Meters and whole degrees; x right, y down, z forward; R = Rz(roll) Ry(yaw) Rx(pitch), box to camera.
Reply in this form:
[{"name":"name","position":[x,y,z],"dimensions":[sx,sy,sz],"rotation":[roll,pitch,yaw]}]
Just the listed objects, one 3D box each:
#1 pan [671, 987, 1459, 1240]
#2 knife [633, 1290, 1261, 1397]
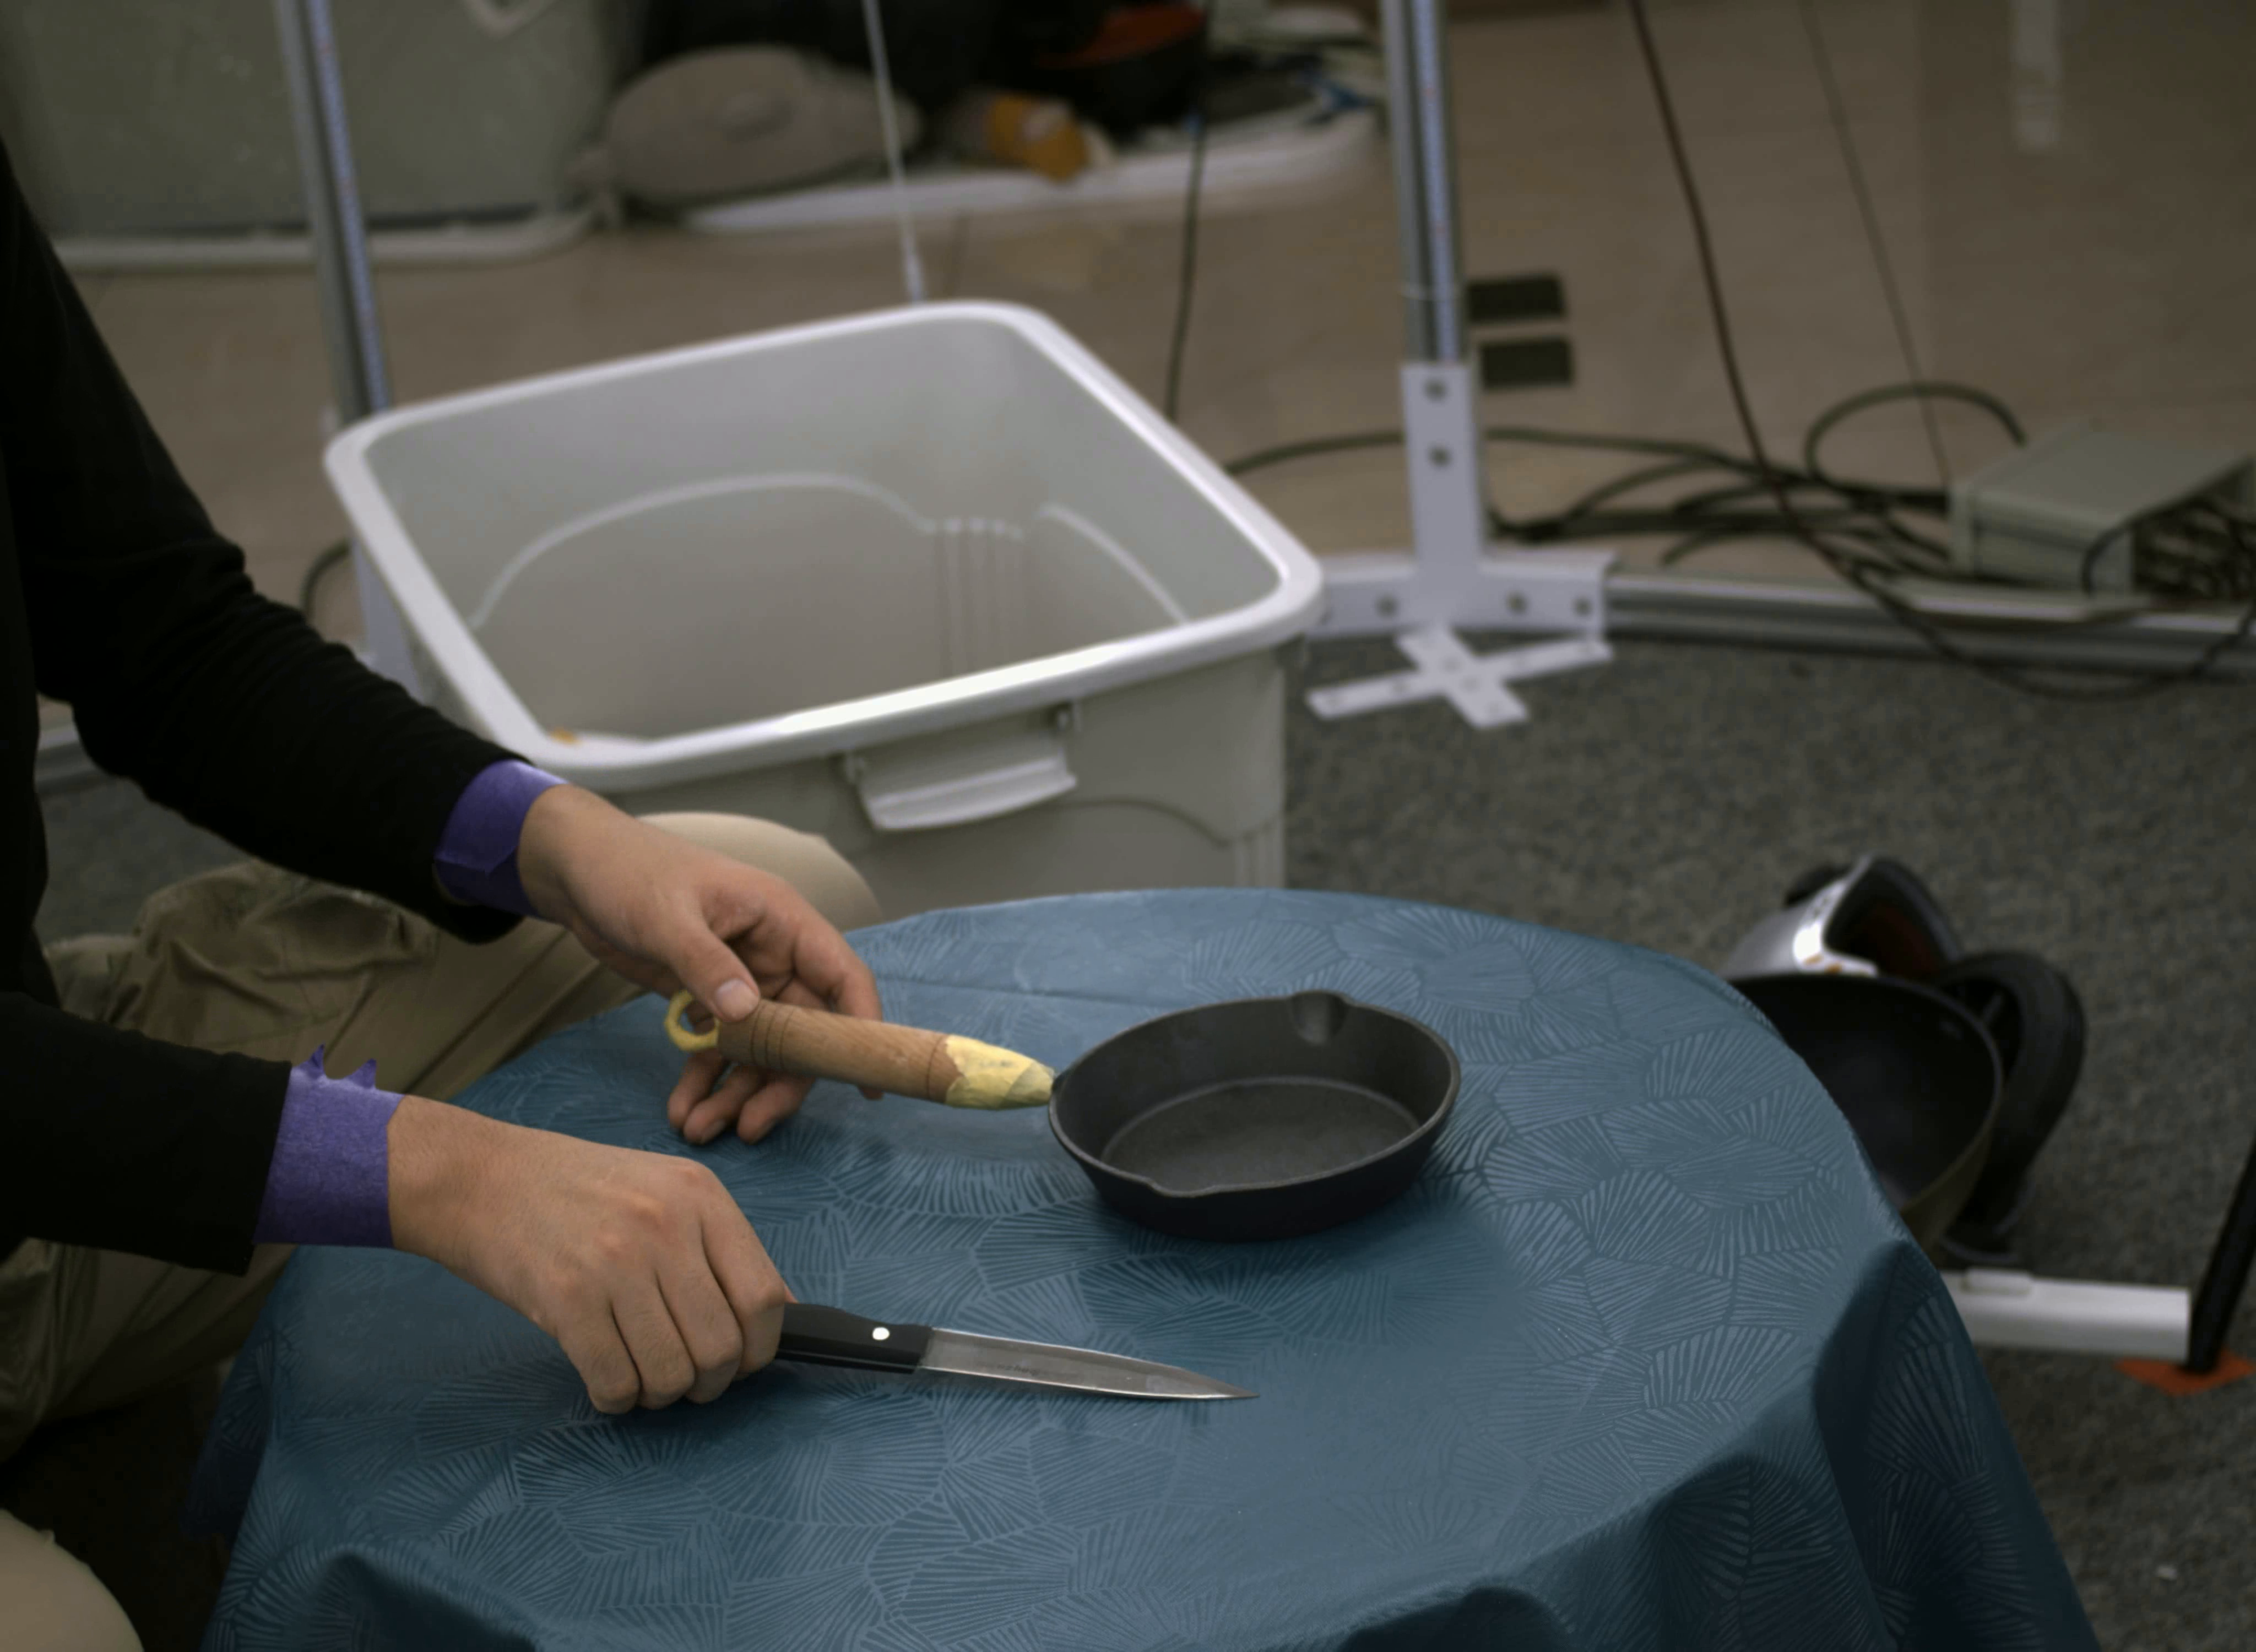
[{"name":"pan","position":[-0.028,0.102,2.182],"dimensions":[0.323,0.050,0.167],"rotation":[4,27,24]},{"name":"knife","position":[-0.068,0.189,2.036],"dimensions":[0.237,0.016,0.024],"rotation":[6,36,15]}]
